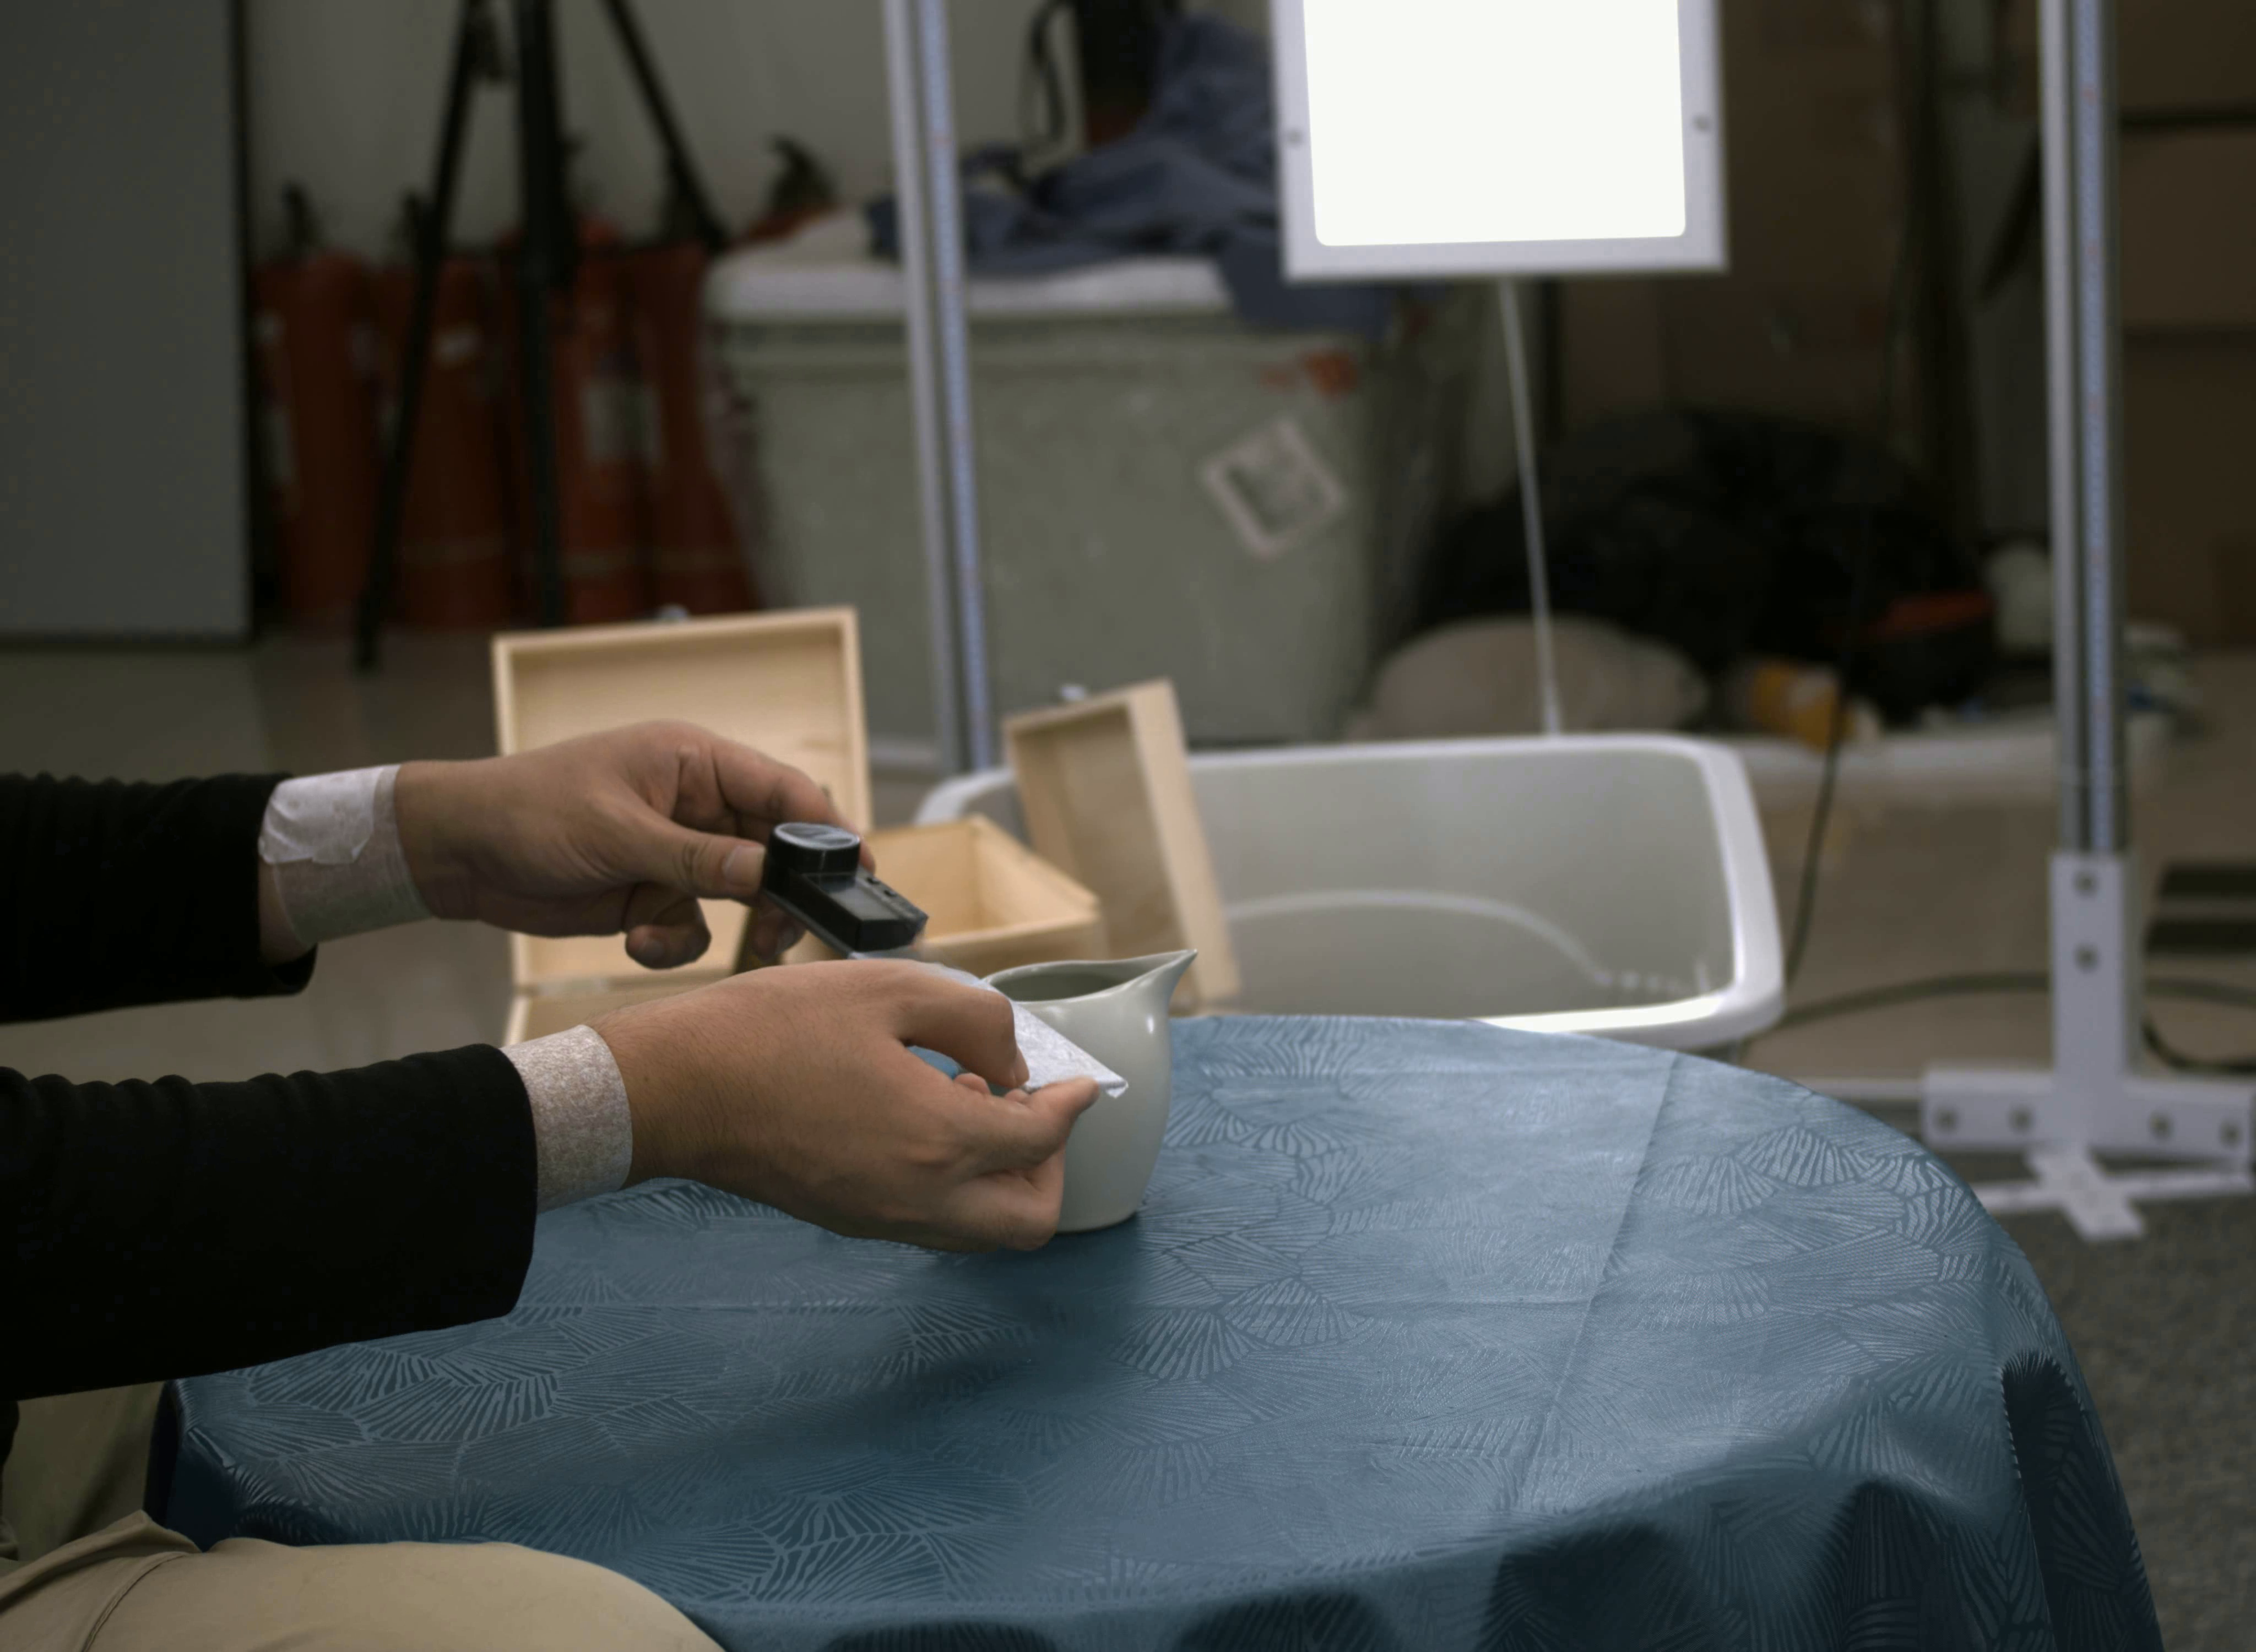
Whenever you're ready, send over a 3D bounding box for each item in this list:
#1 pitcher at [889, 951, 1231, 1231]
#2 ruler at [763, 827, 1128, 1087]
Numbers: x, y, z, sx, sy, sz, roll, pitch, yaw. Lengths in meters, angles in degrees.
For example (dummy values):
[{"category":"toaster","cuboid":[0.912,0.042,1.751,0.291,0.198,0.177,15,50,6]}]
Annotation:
[{"category":"pitcher","cuboid":[-0.021,0.091,1.870,0.118,0.088,0.076,-5,10,-3]},{"category":"ruler","cuboid":[-0.066,0.041,1.842,0.037,0.024,0.221,-10,21,-26]}]
